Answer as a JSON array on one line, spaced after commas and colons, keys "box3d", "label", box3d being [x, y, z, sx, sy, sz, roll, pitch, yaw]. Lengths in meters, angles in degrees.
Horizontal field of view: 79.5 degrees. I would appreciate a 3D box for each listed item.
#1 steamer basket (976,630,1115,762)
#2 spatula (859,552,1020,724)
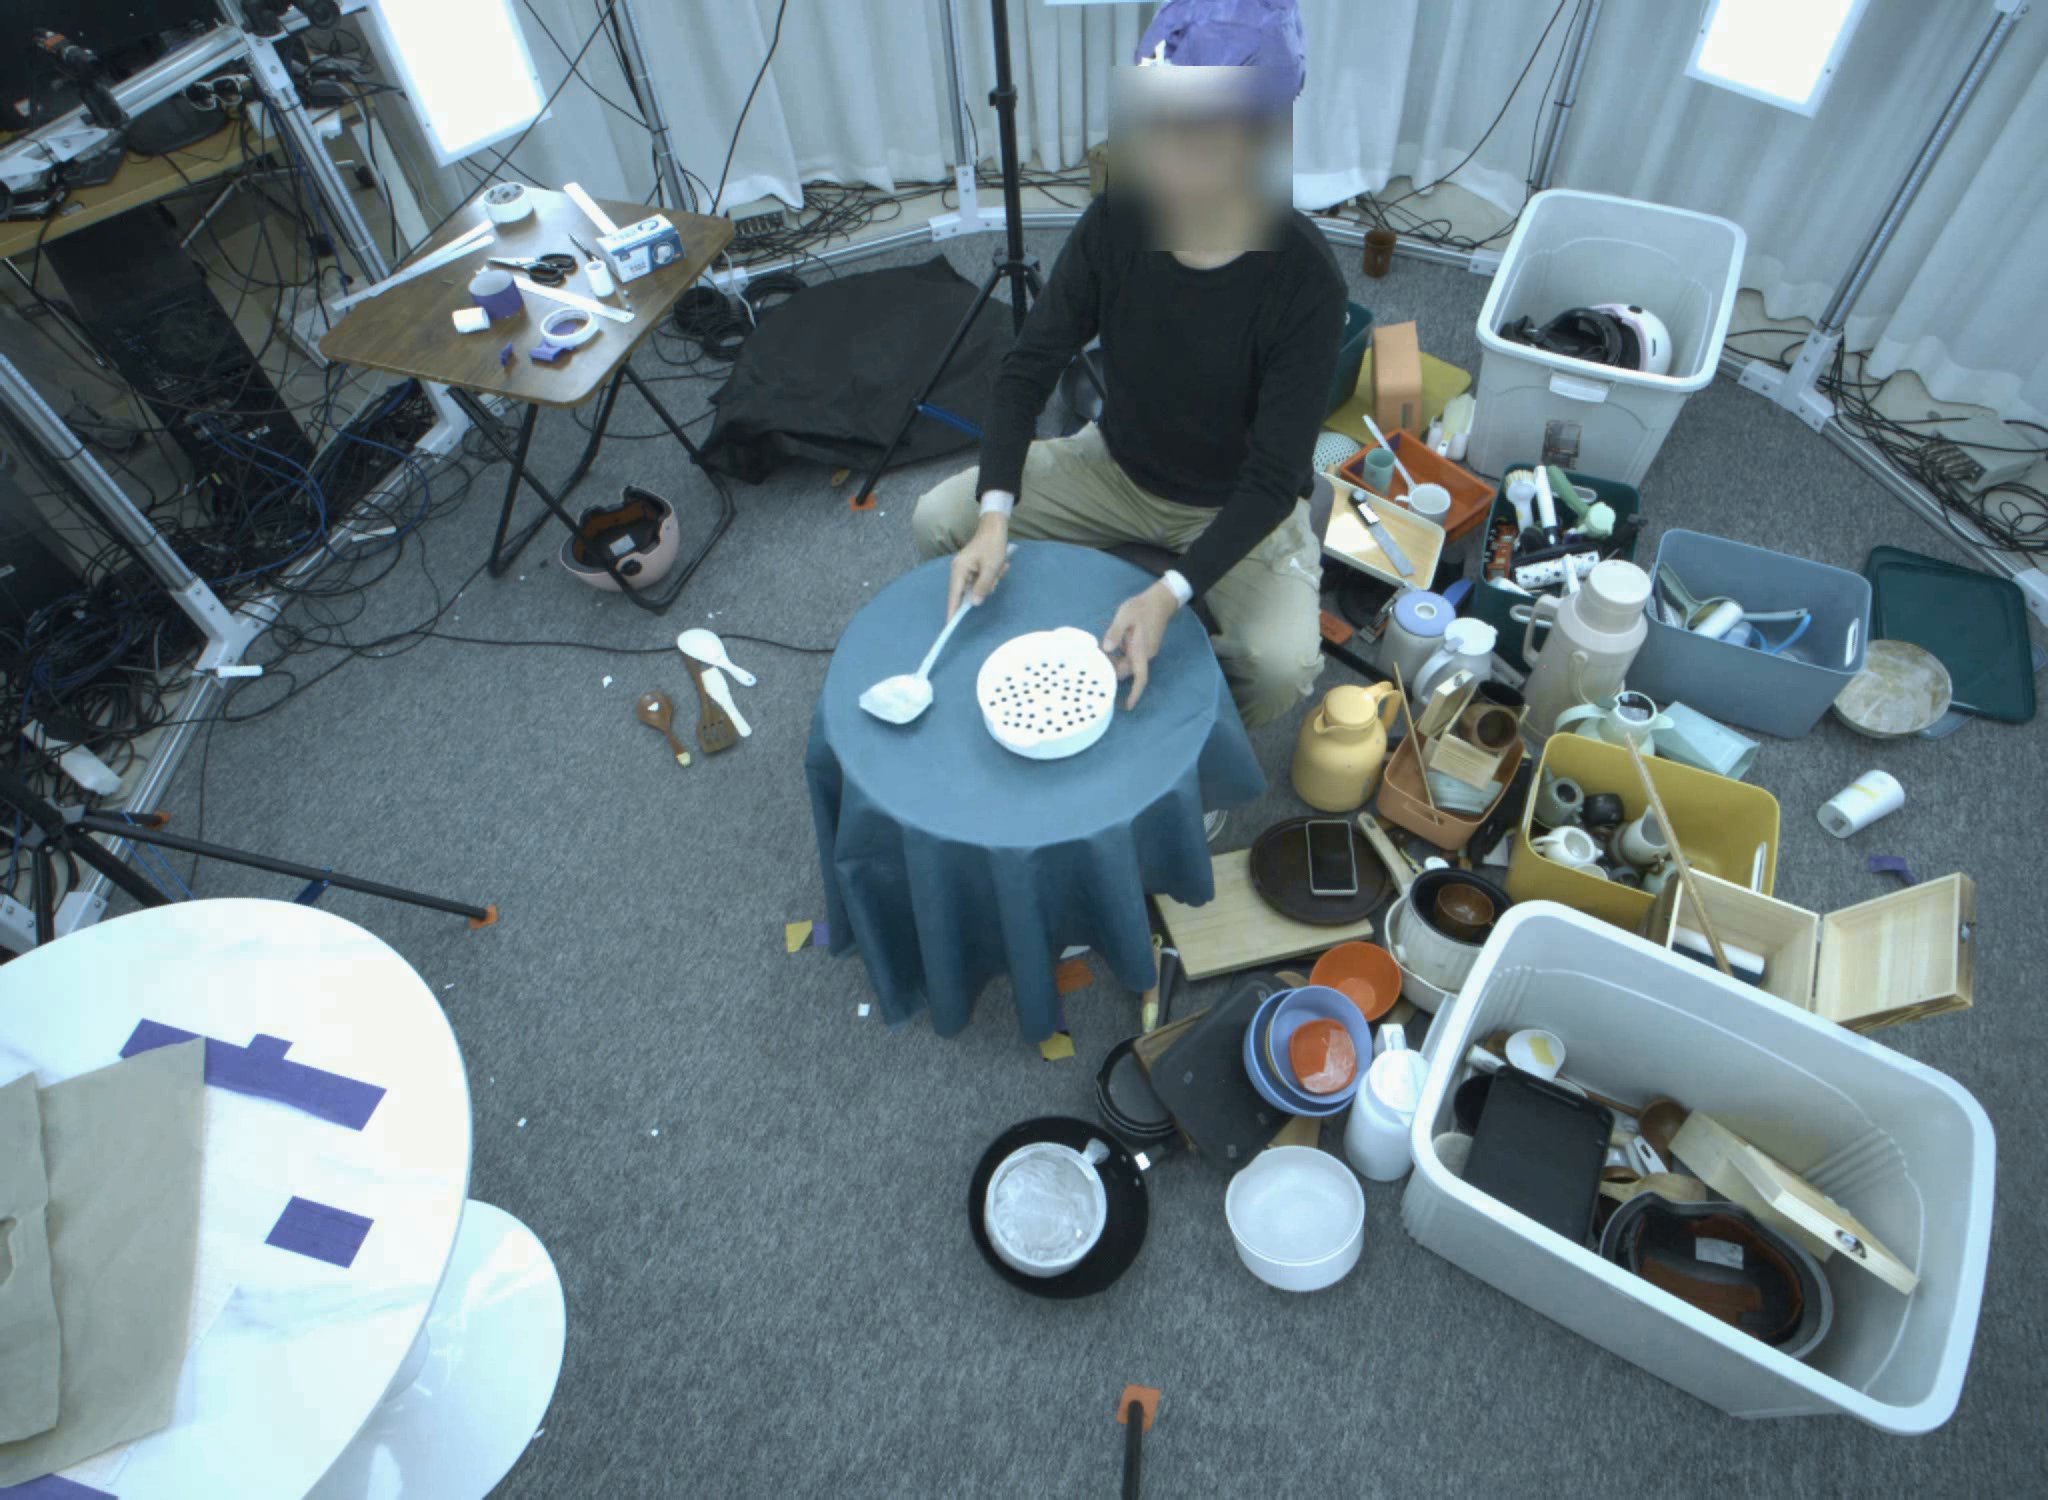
[{"box3d": [0.032, -0.075, 1.797, 0.199, 0.070, 0.231, 22, 57, 16], "label": "steamer basket"}, {"box3d": [-0.116, -0.183, 1.872, 0.097, 0.045, 0.365, 25, 71, 25], "label": "spatula"}]
